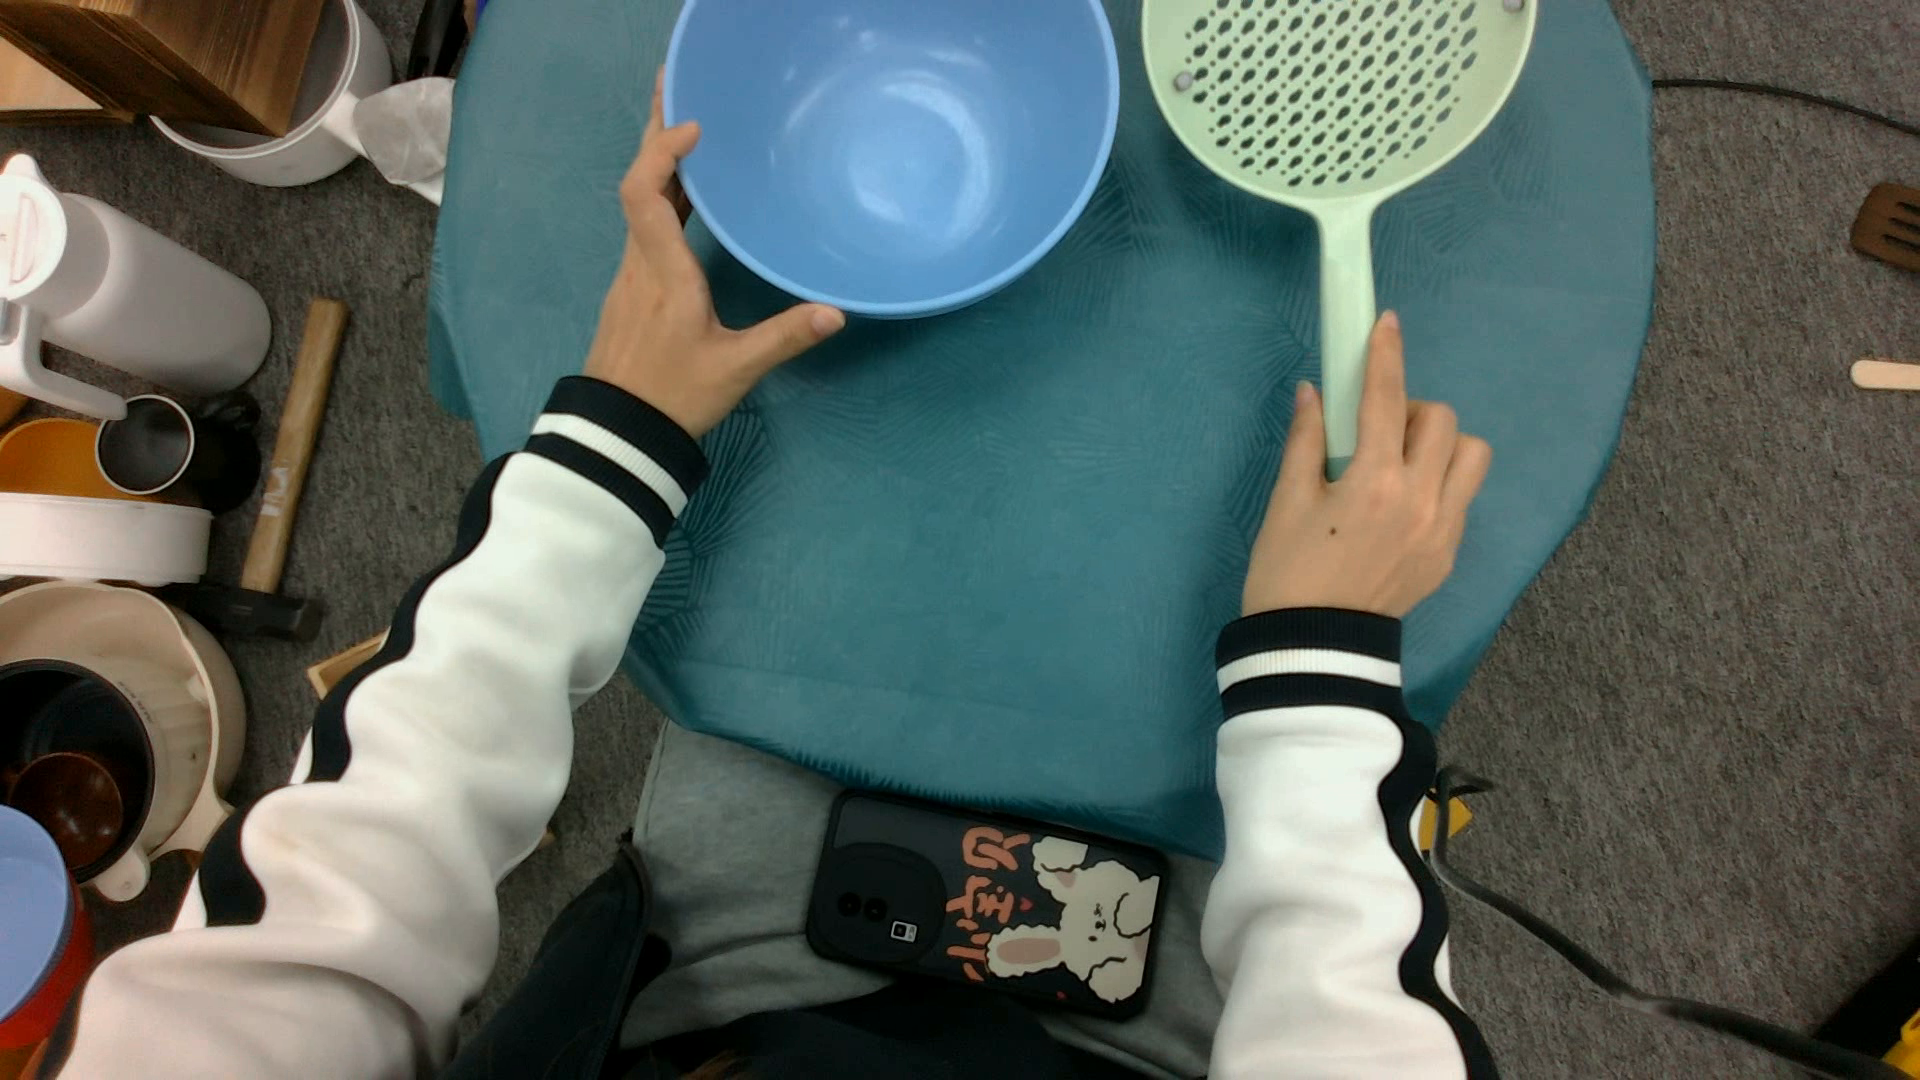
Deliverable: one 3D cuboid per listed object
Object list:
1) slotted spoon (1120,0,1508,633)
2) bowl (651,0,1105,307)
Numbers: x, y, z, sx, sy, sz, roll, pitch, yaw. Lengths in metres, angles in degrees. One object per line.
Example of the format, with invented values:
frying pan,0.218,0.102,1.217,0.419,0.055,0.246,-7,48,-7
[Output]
slotted spoon,0.164,-0.140,0.627,0.169,0.075,0.359,-3,80,13
bowl,-0.035,-0.193,0.639,0.196,0.095,0.196,0,83,1
